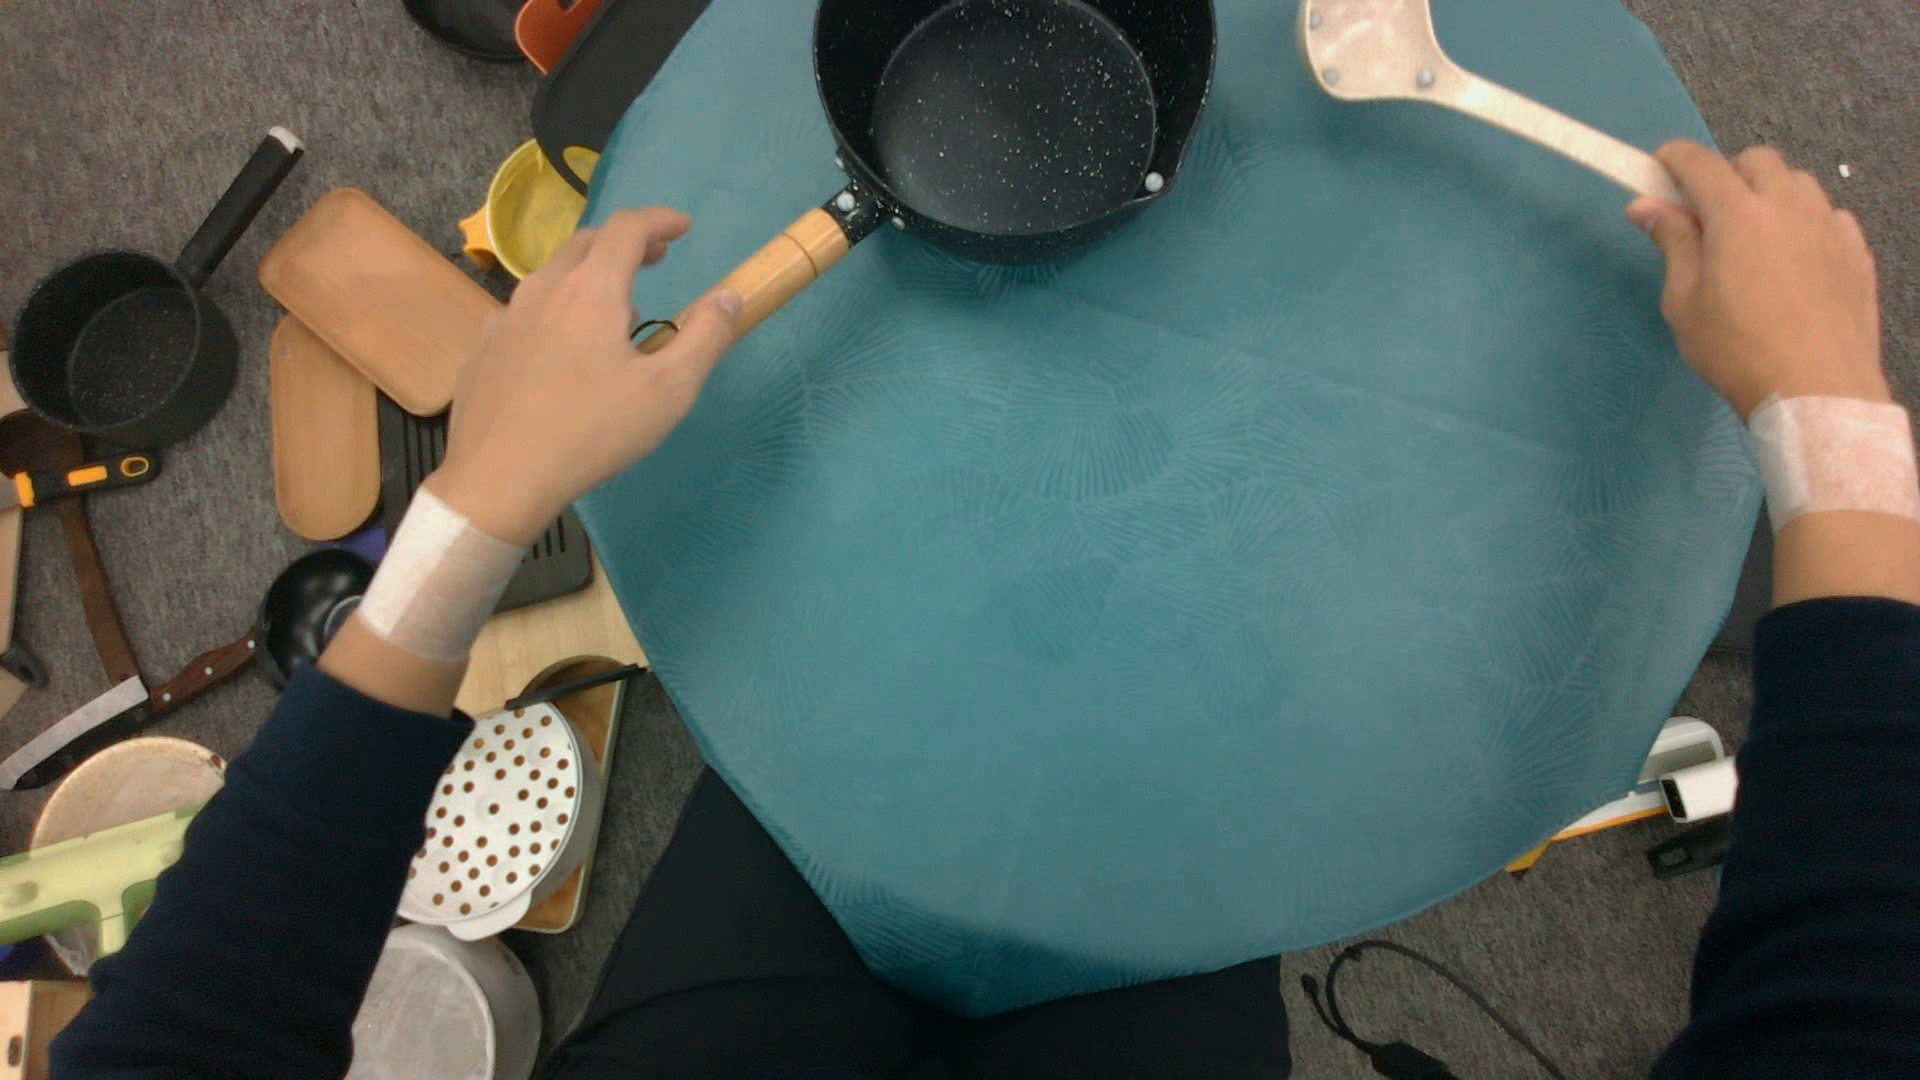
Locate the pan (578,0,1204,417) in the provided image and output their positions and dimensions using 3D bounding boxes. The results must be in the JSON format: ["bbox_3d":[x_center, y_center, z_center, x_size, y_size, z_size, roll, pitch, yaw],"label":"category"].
[{"bbox_3d":[-0.035,-0.169,0.653,0.207,0.108,0.343,44,83,7],"label":"pan"}]

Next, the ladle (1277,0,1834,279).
[{"bbox_3d":[0.270,-0.201,0.618,0.275,0.069,0.089,31,66,17],"label":"ladle"}]
